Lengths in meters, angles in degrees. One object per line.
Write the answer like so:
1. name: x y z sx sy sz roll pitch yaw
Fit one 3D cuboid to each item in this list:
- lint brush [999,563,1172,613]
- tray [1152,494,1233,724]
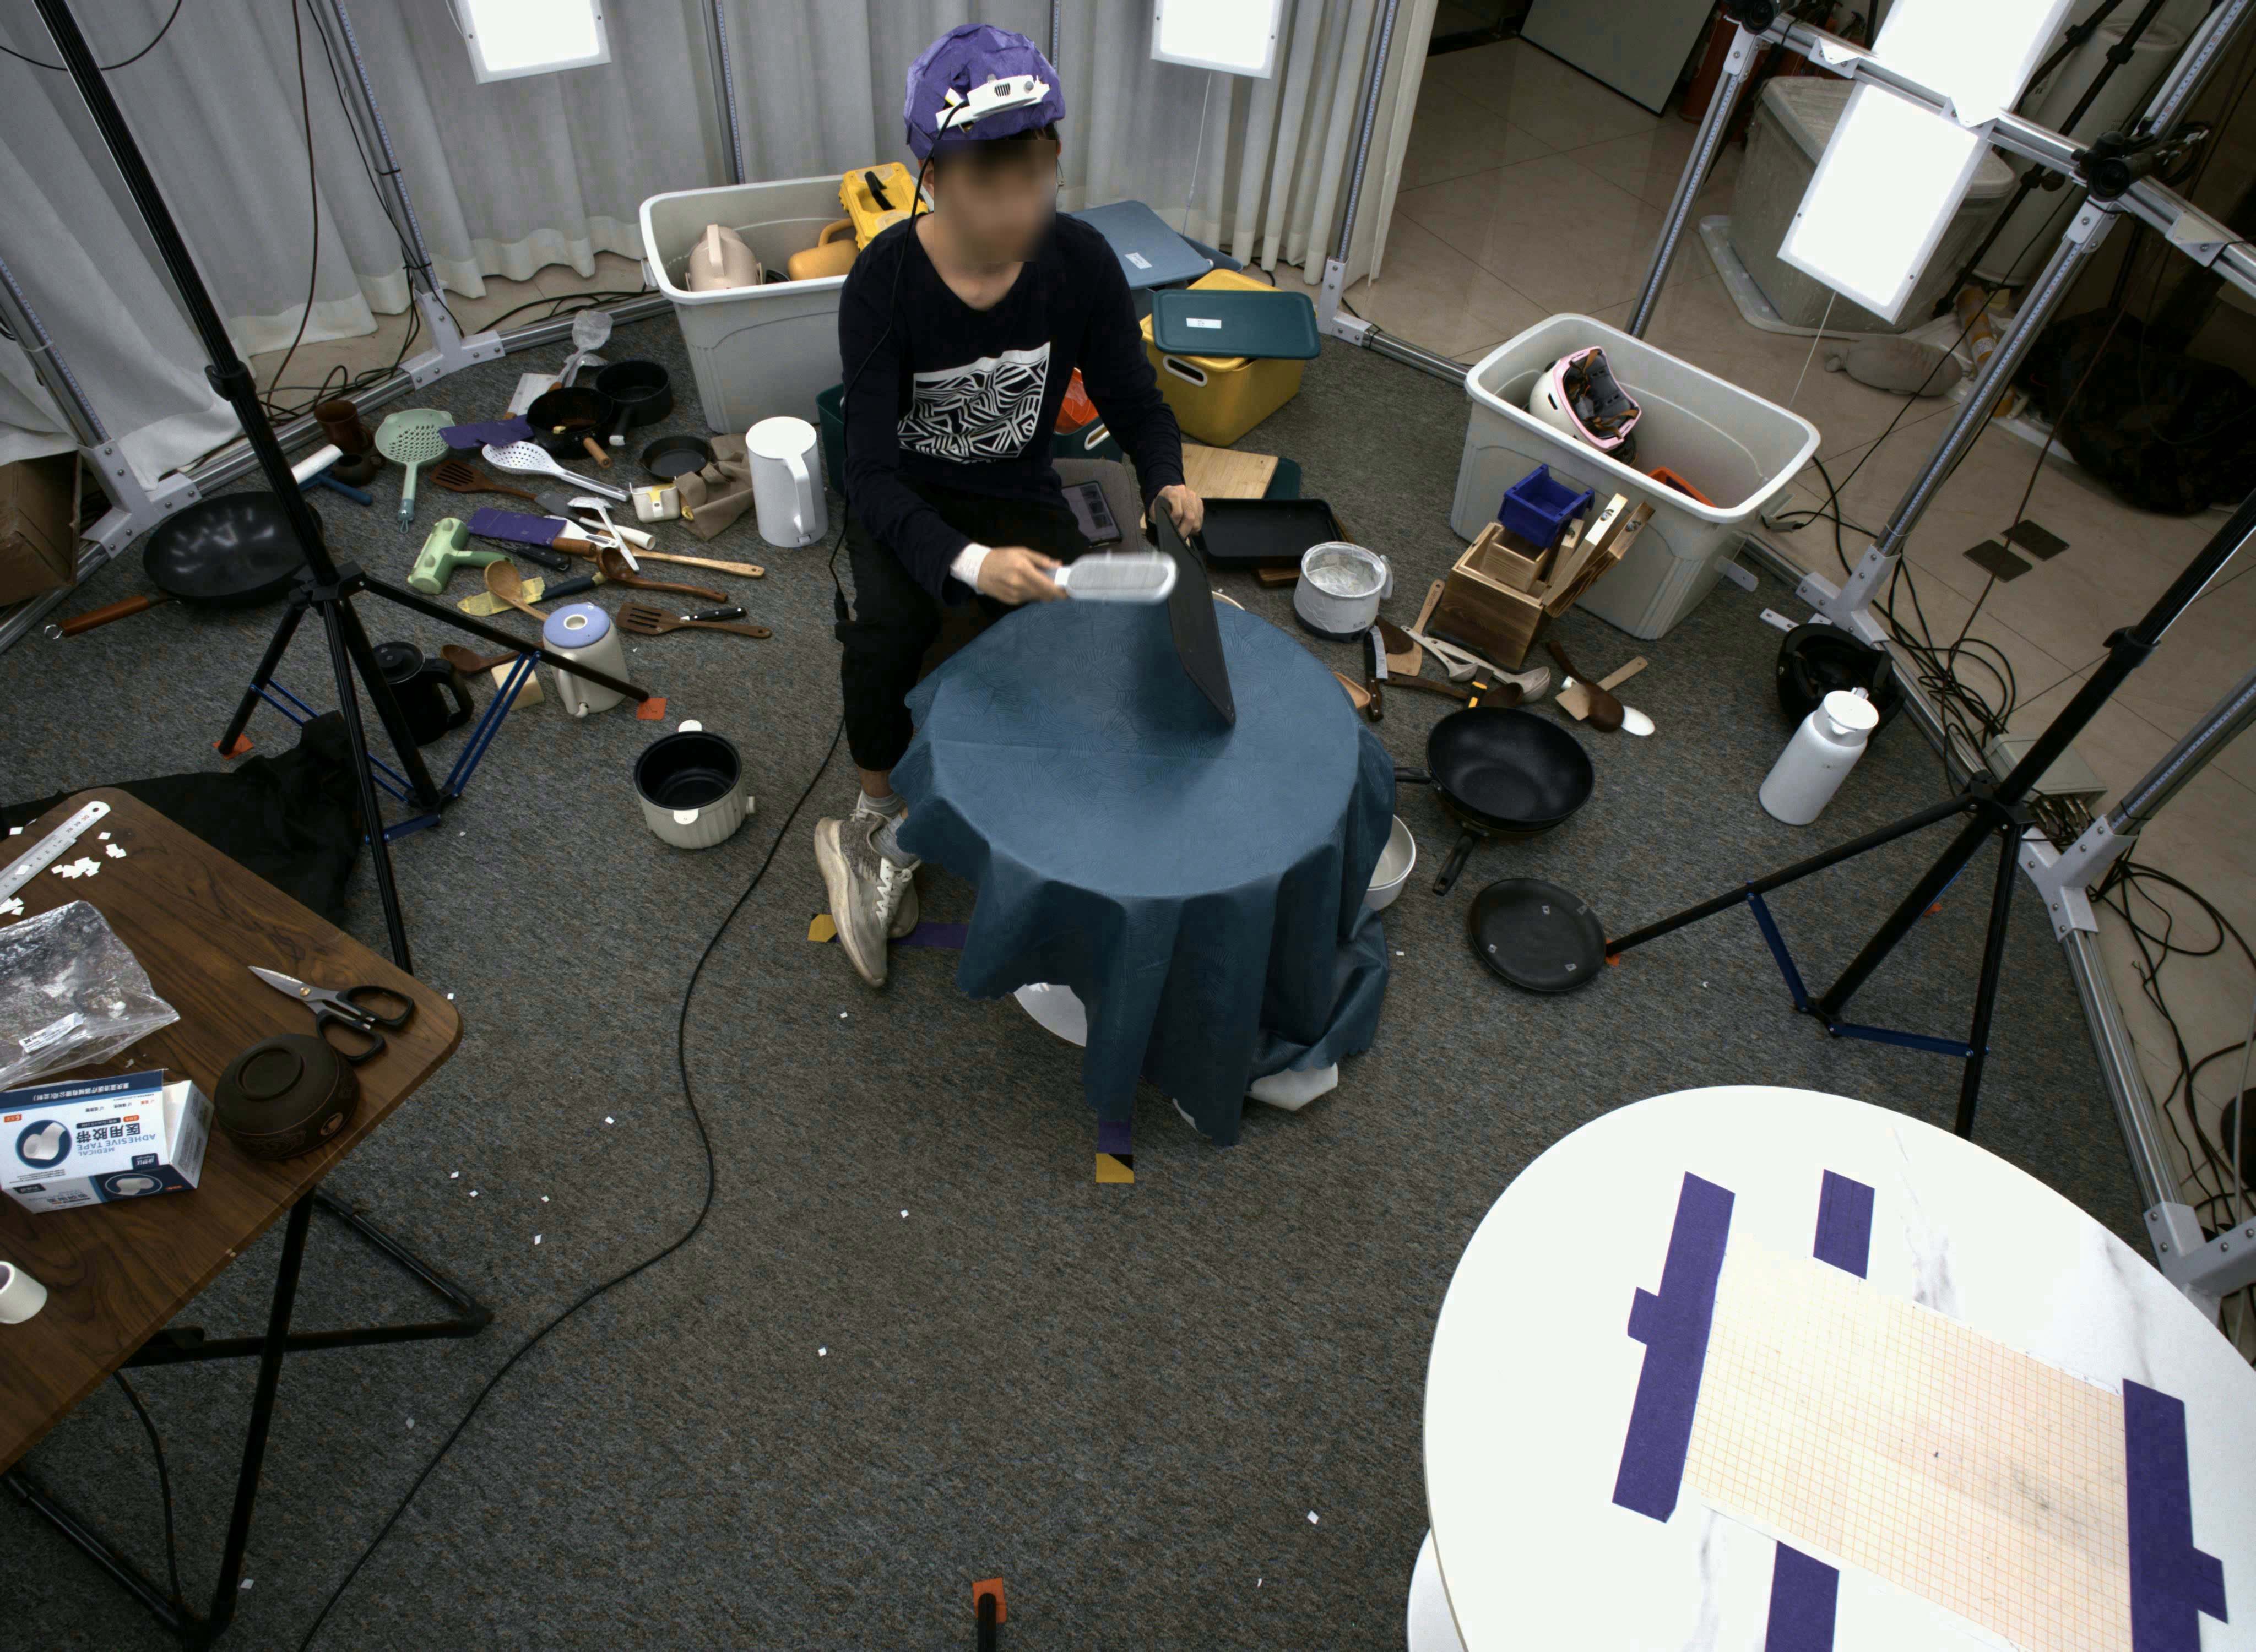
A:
1. lint brush: -0.063 -0.321 1.713 0.312 0.020 0.060 13 83 41
2. tray: 0.091 -0.312 1.798 0.010 0.207 0.333 -19 57 21
